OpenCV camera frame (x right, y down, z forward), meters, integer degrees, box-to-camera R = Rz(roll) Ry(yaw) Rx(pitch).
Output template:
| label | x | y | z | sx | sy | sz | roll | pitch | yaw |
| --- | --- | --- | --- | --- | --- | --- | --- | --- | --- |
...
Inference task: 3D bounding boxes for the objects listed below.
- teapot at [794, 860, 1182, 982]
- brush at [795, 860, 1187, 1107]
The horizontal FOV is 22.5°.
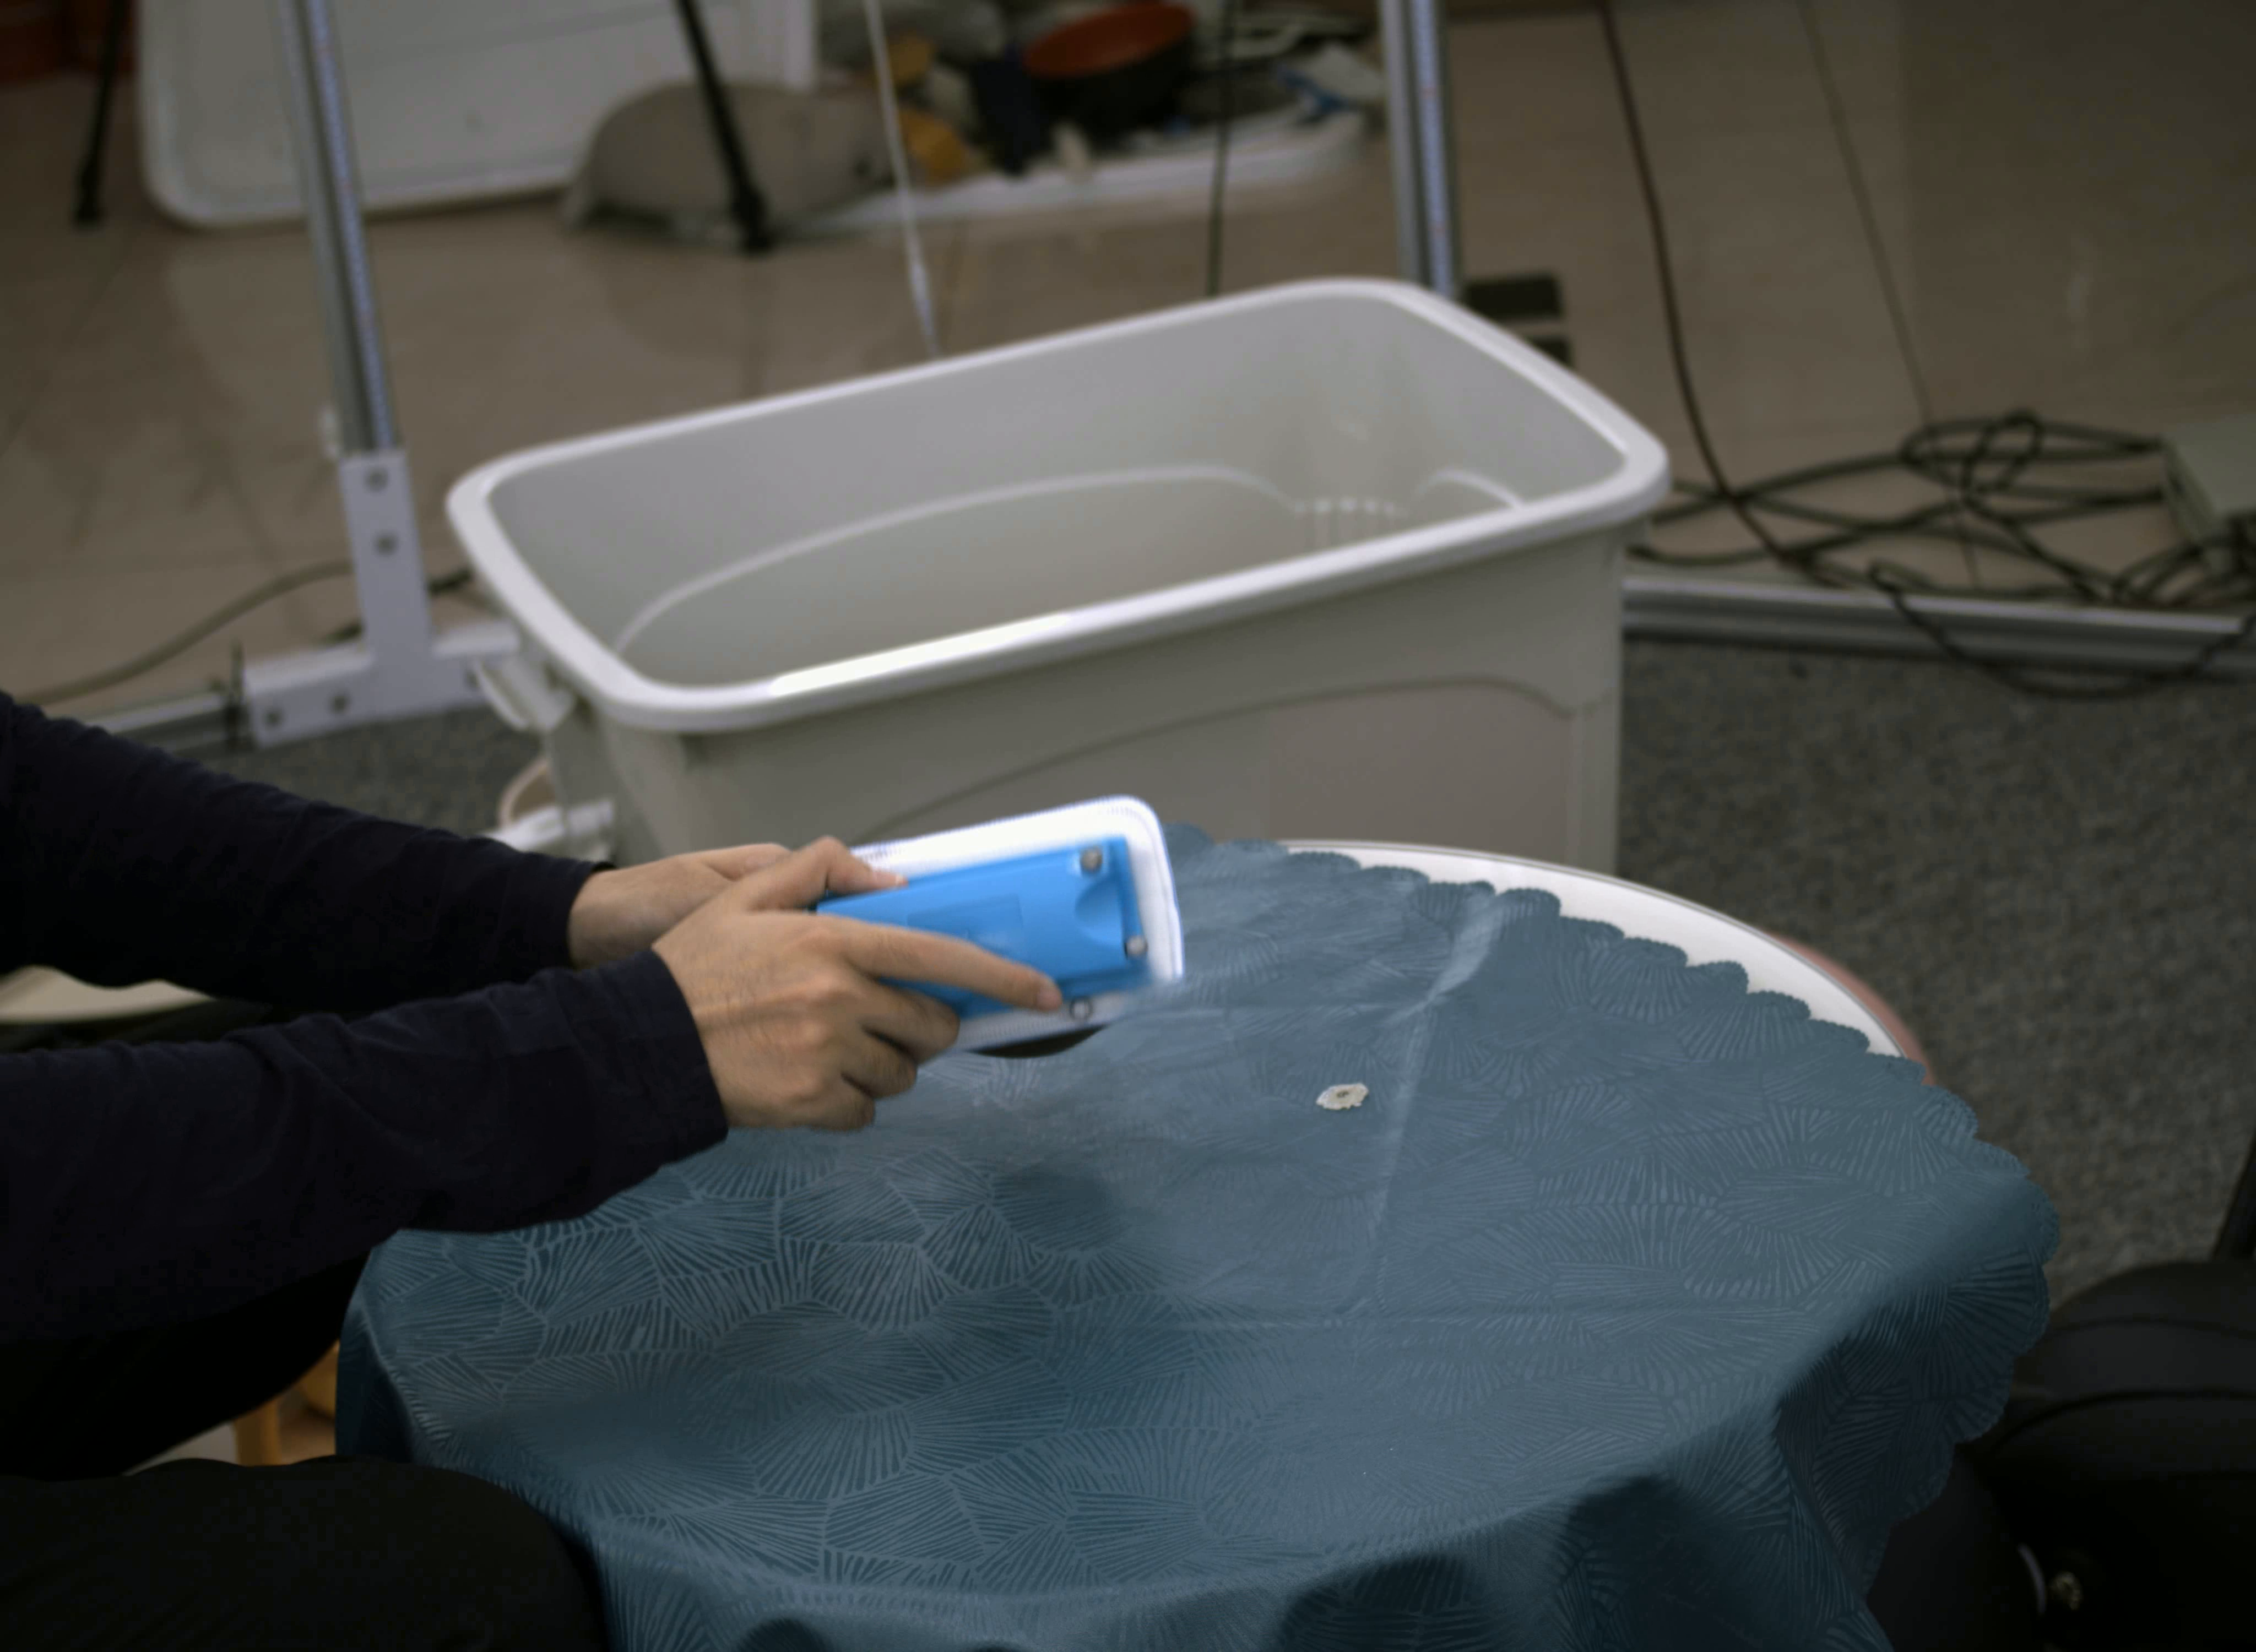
| label | x | y | z | sx | sy | sz | roll | pitch | yaw |
| --- | --- | --- | --- | --- | --- | --- | --- | --- | --- |
| teapot | -0.056 | 0.050 | 2.176 | 0.153 | 0.104 | 0.053 | 4 | 57 | 17 |
| brush | -0.052 | 0.052 | 2.058 | 0.144 | 0.083 | 0.056 | -7 | -11 | 5 |
